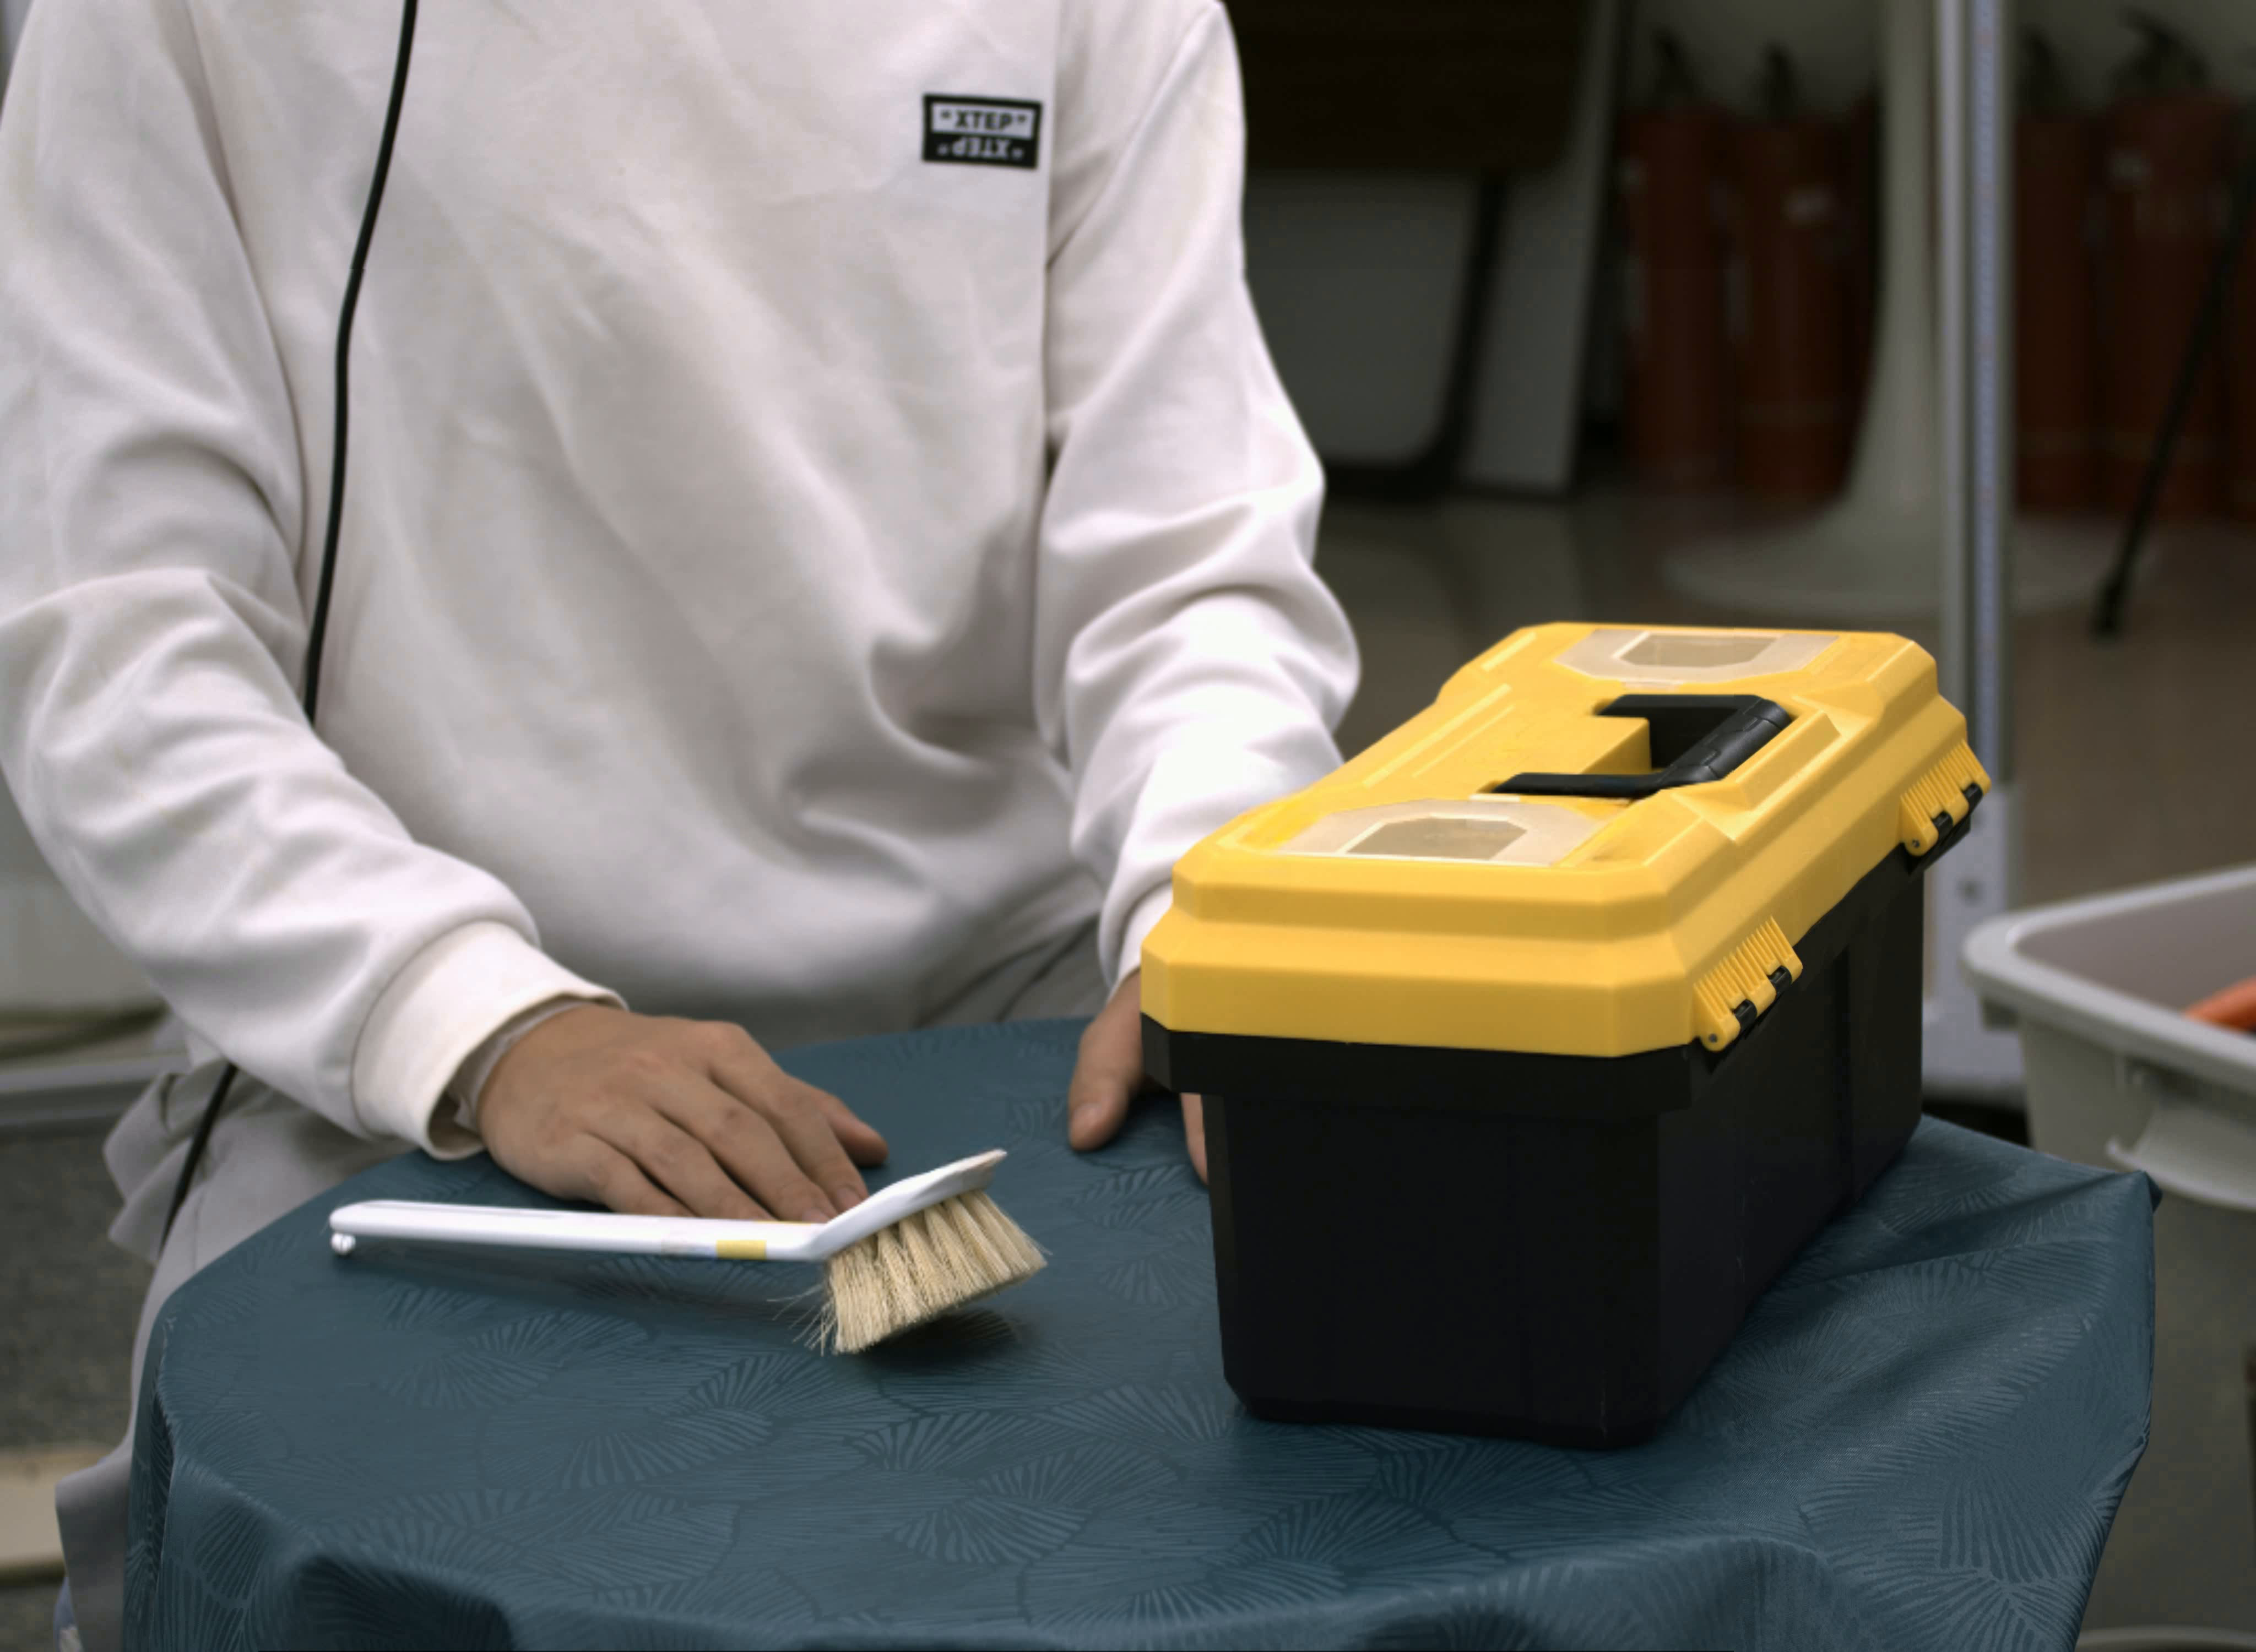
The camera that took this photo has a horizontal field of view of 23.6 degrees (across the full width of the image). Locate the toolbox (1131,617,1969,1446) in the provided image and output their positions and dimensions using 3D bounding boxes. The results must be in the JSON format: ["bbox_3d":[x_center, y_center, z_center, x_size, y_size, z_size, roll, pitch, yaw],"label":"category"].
[{"bbox_3d":[0.139,0.053,1.646,0.181,0.175,0.347,3,14,23],"label":"toolbox"}]

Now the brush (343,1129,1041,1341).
[{"bbox_3d":[-0.141,0.143,1.696,0.268,0.057,0.067,-13,-14,33],"label":"brush"}]
